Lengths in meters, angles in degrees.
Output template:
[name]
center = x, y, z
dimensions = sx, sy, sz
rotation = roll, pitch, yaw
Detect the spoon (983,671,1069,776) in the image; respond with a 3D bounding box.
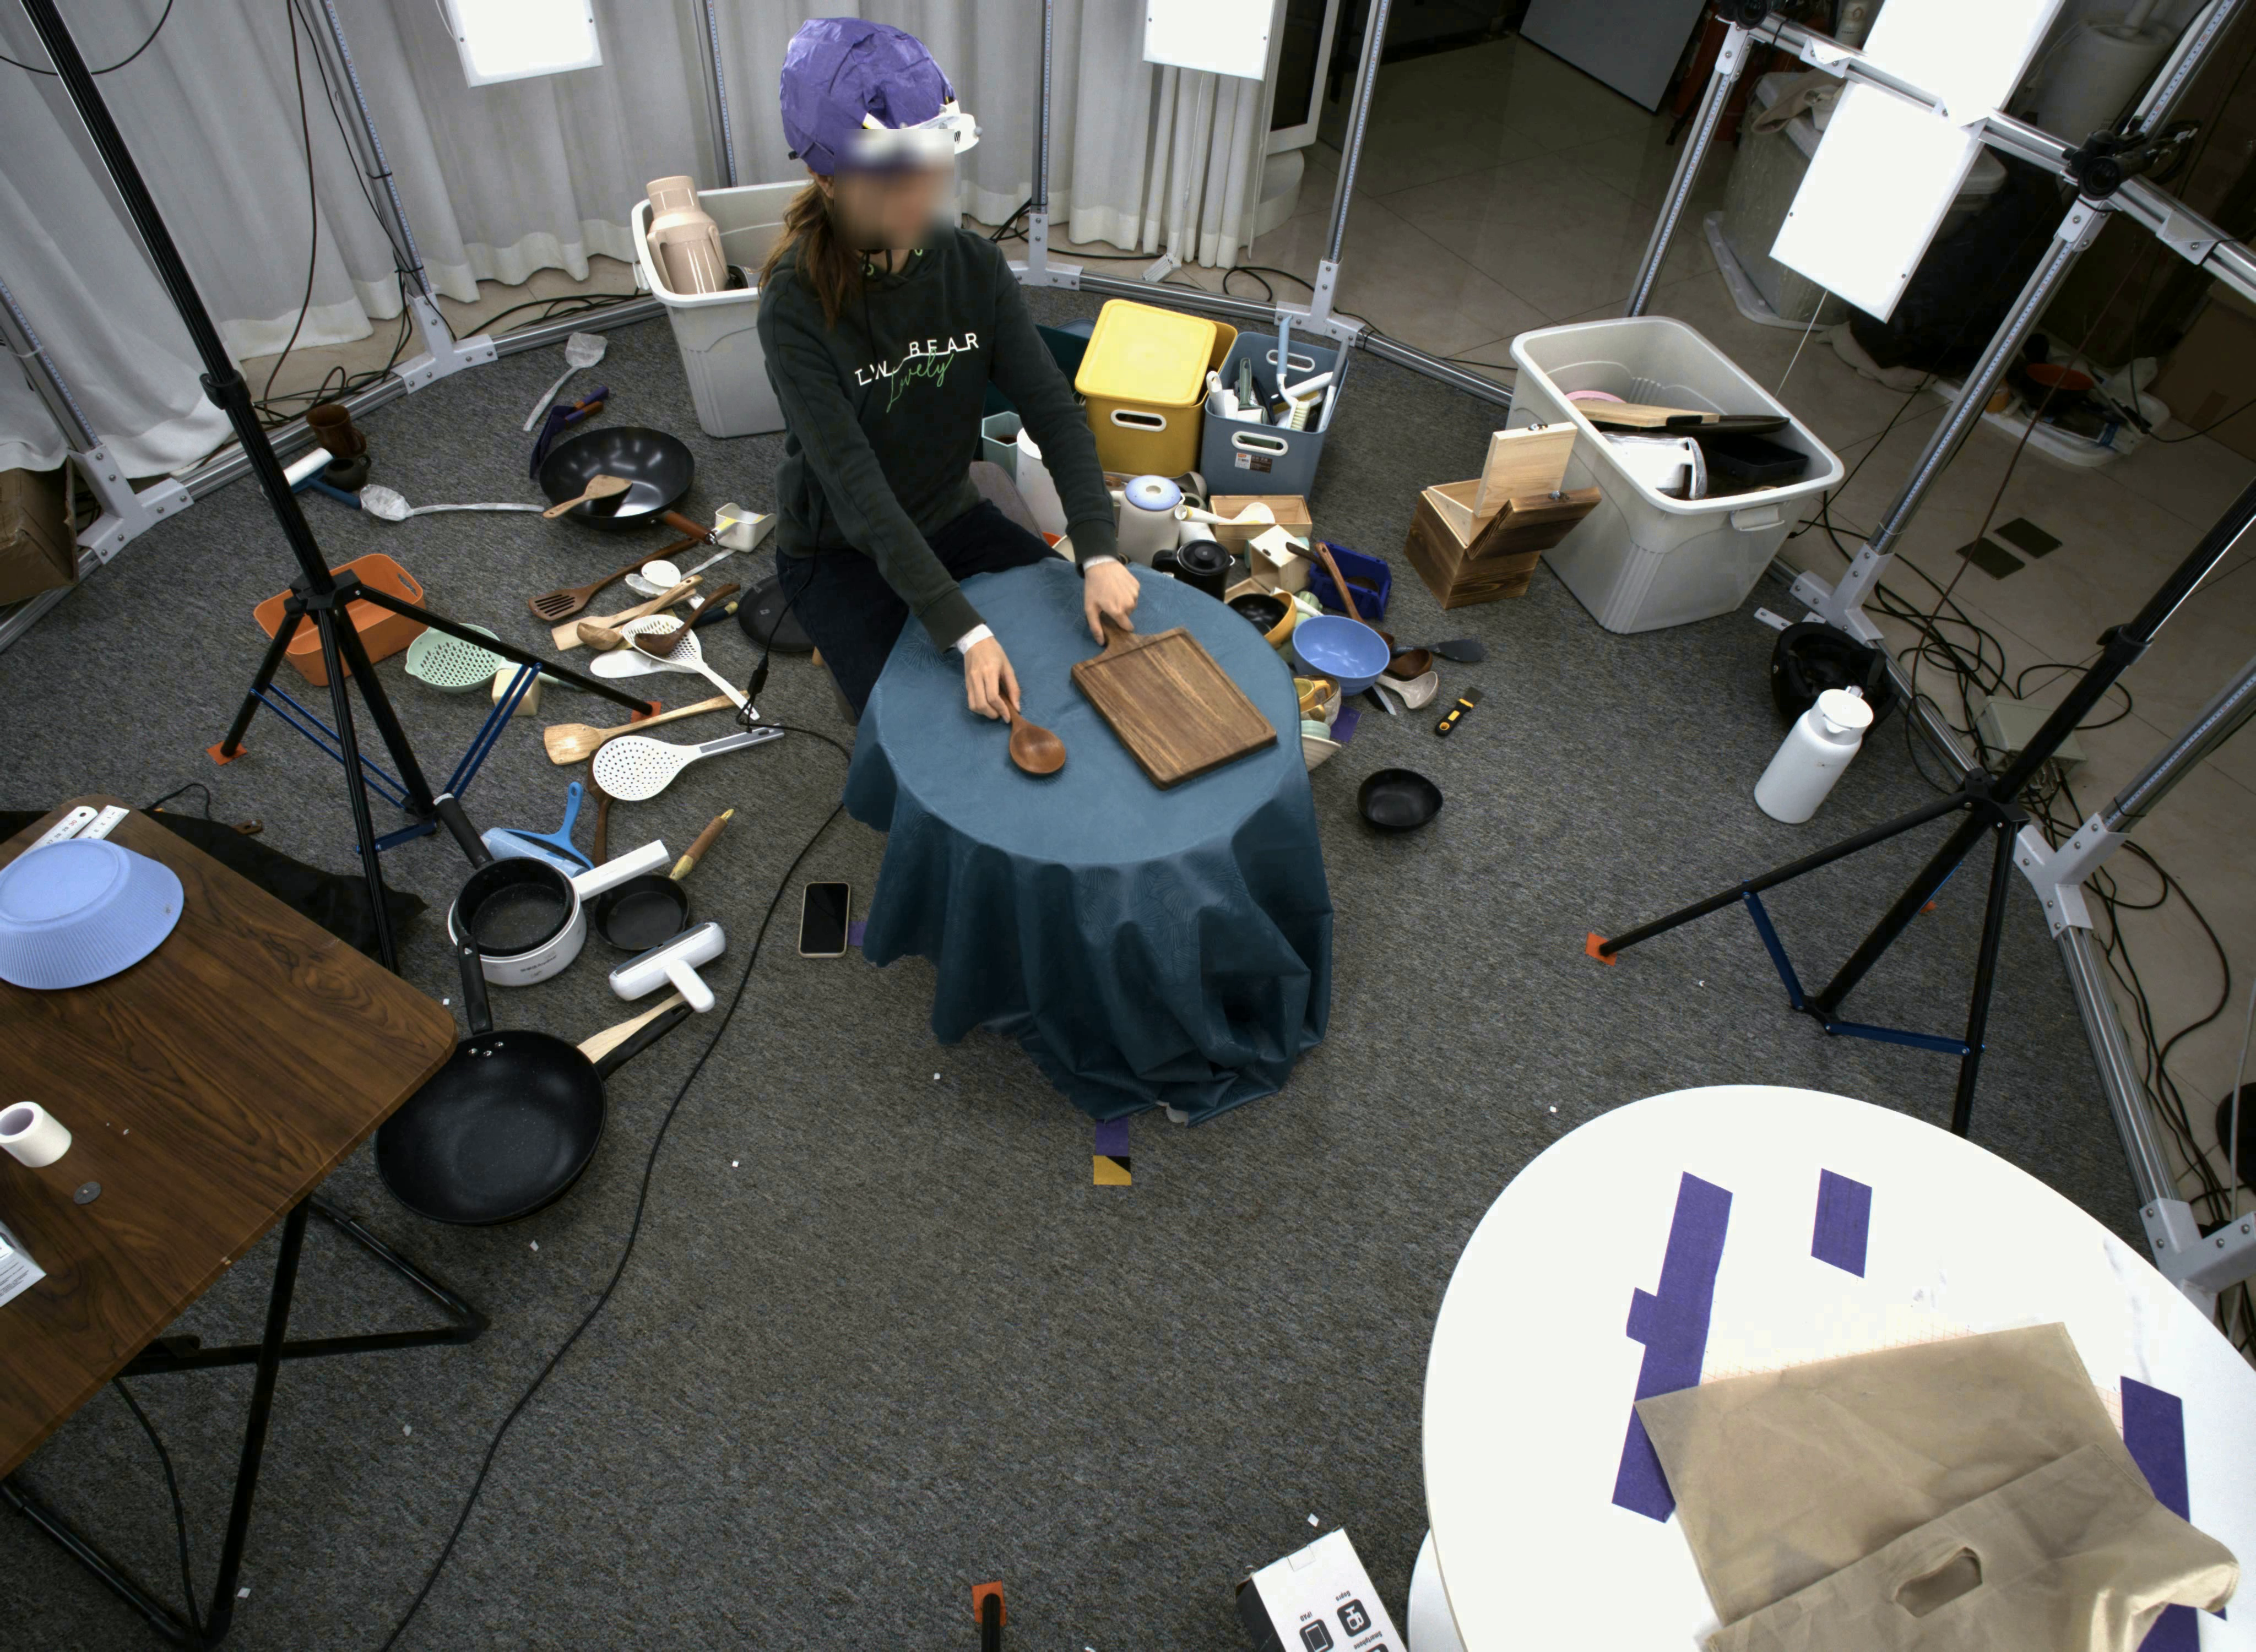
[spoon]
center = -0.150, -0.143, 1.787
dimensions = 0.075, 0.017, 0.220
rotation = -21, 54, -18

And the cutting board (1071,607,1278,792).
[cutting board]
center = 0.039, -0.204, 1.851
dimensions = 0.202, 0.022, 0.359
rotation = -23, 55, -21
